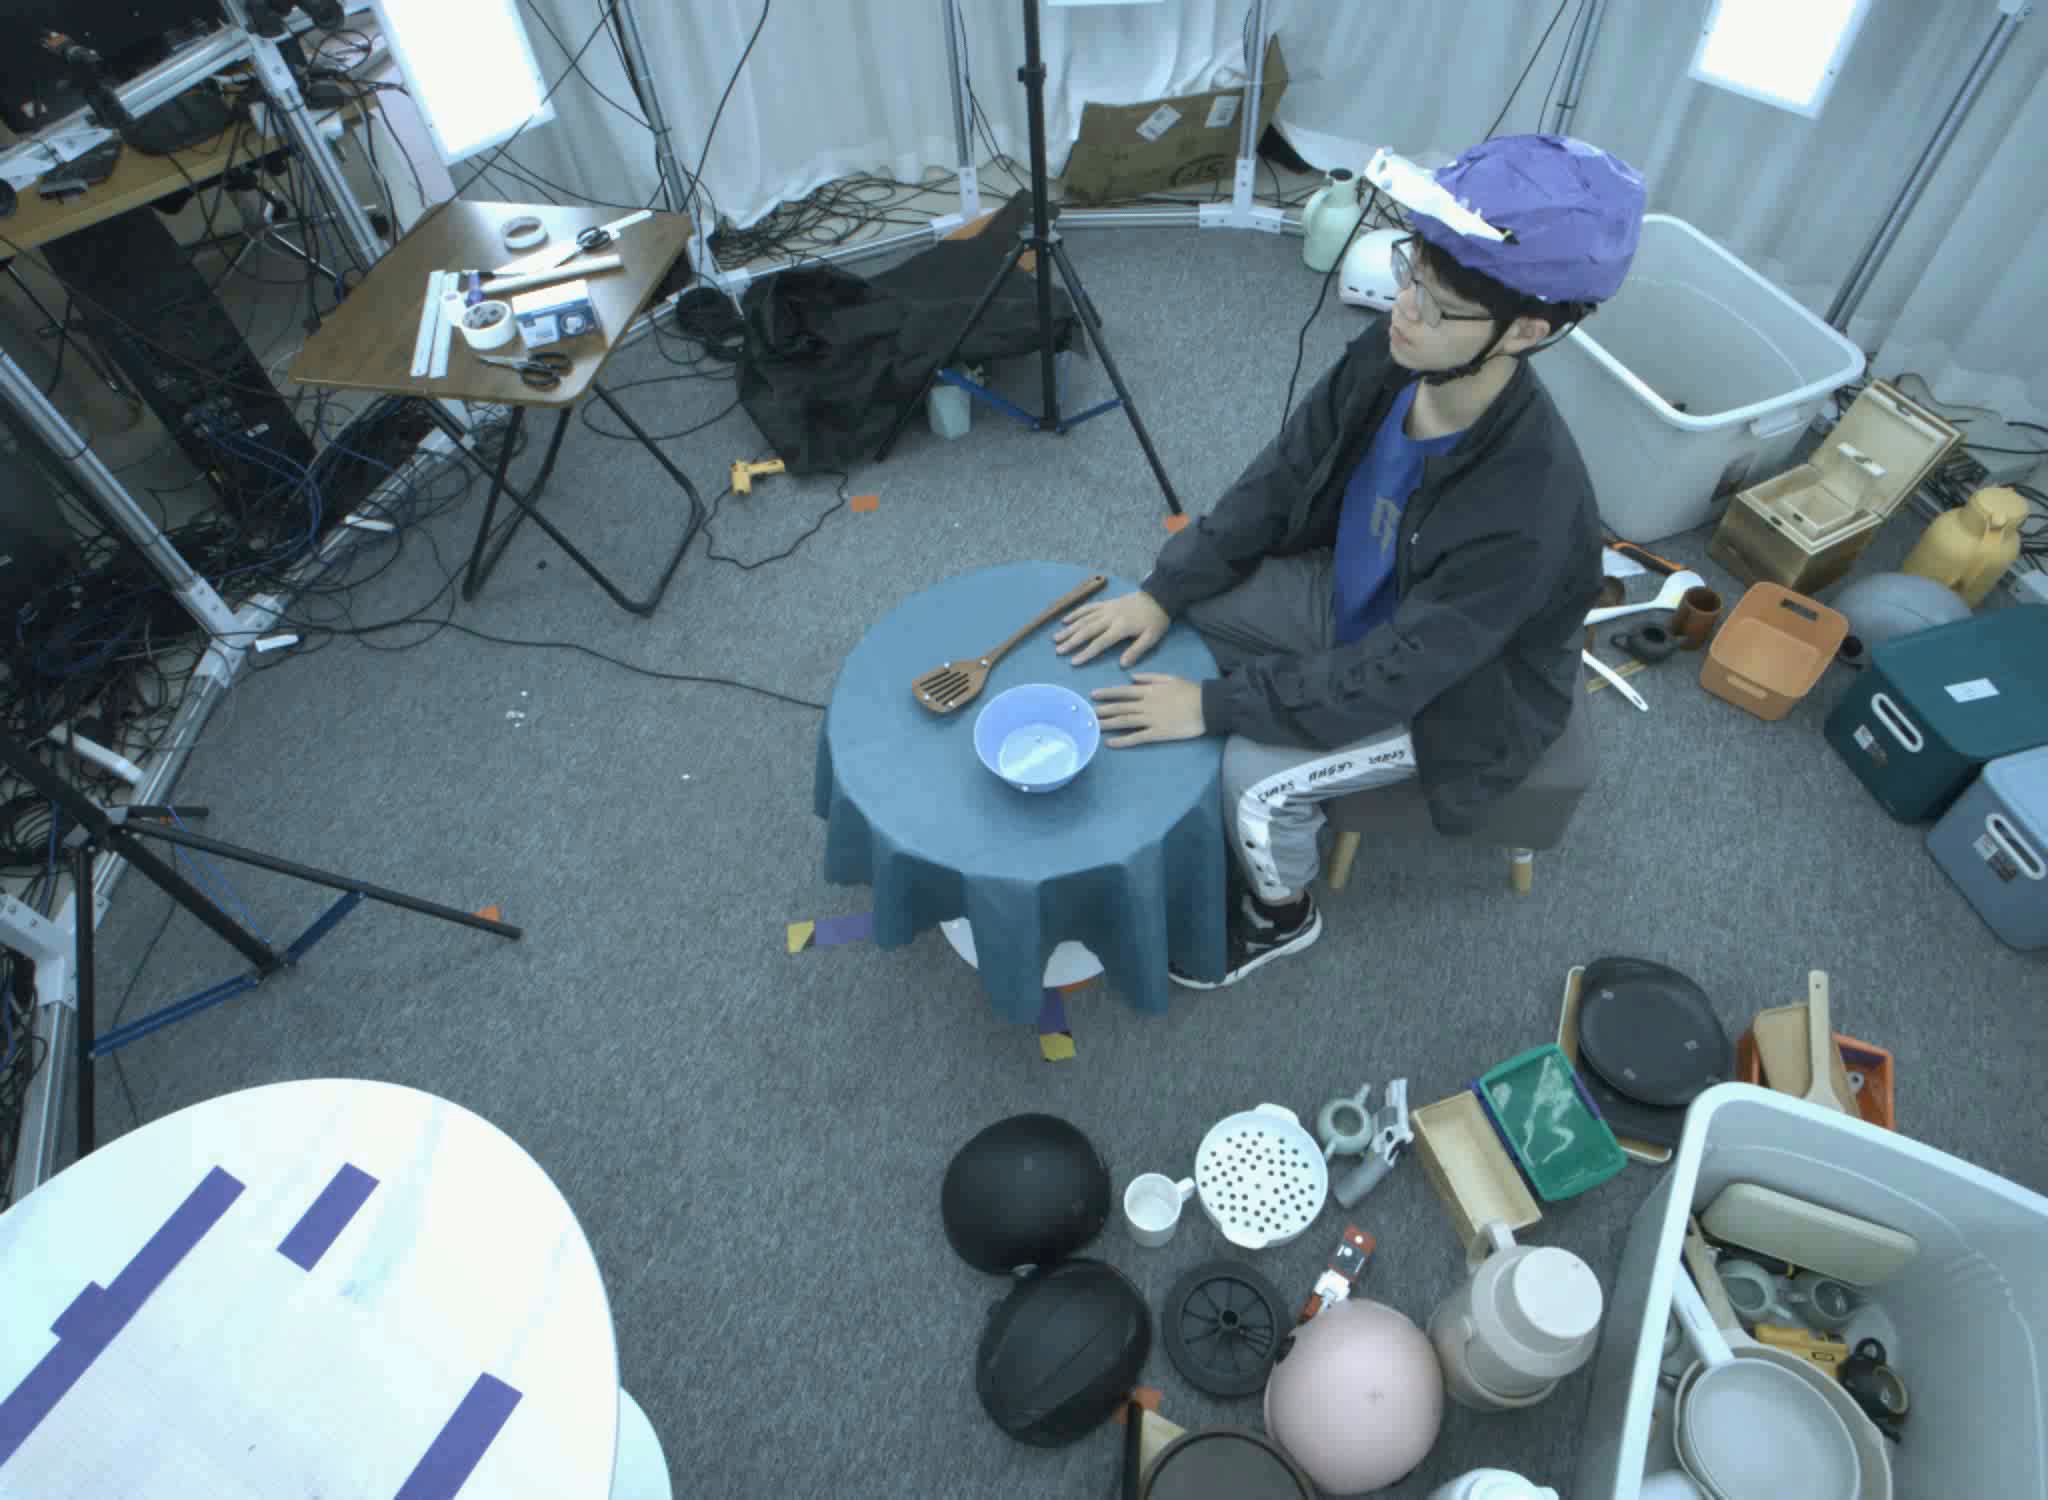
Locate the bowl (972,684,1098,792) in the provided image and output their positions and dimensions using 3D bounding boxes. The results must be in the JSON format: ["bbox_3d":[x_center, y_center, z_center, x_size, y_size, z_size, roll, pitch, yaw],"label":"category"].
[{"bbox_3d":[0.017,-0.006,1.738,0.176,0.071,0.174,0,54,1],"label":"bowl"}]

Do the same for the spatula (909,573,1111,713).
[{"bbox_3d":[-0.009,-0.173,1.890,0.390,0.024,0.084,-36,62,-23],"label":"spatula"}]
